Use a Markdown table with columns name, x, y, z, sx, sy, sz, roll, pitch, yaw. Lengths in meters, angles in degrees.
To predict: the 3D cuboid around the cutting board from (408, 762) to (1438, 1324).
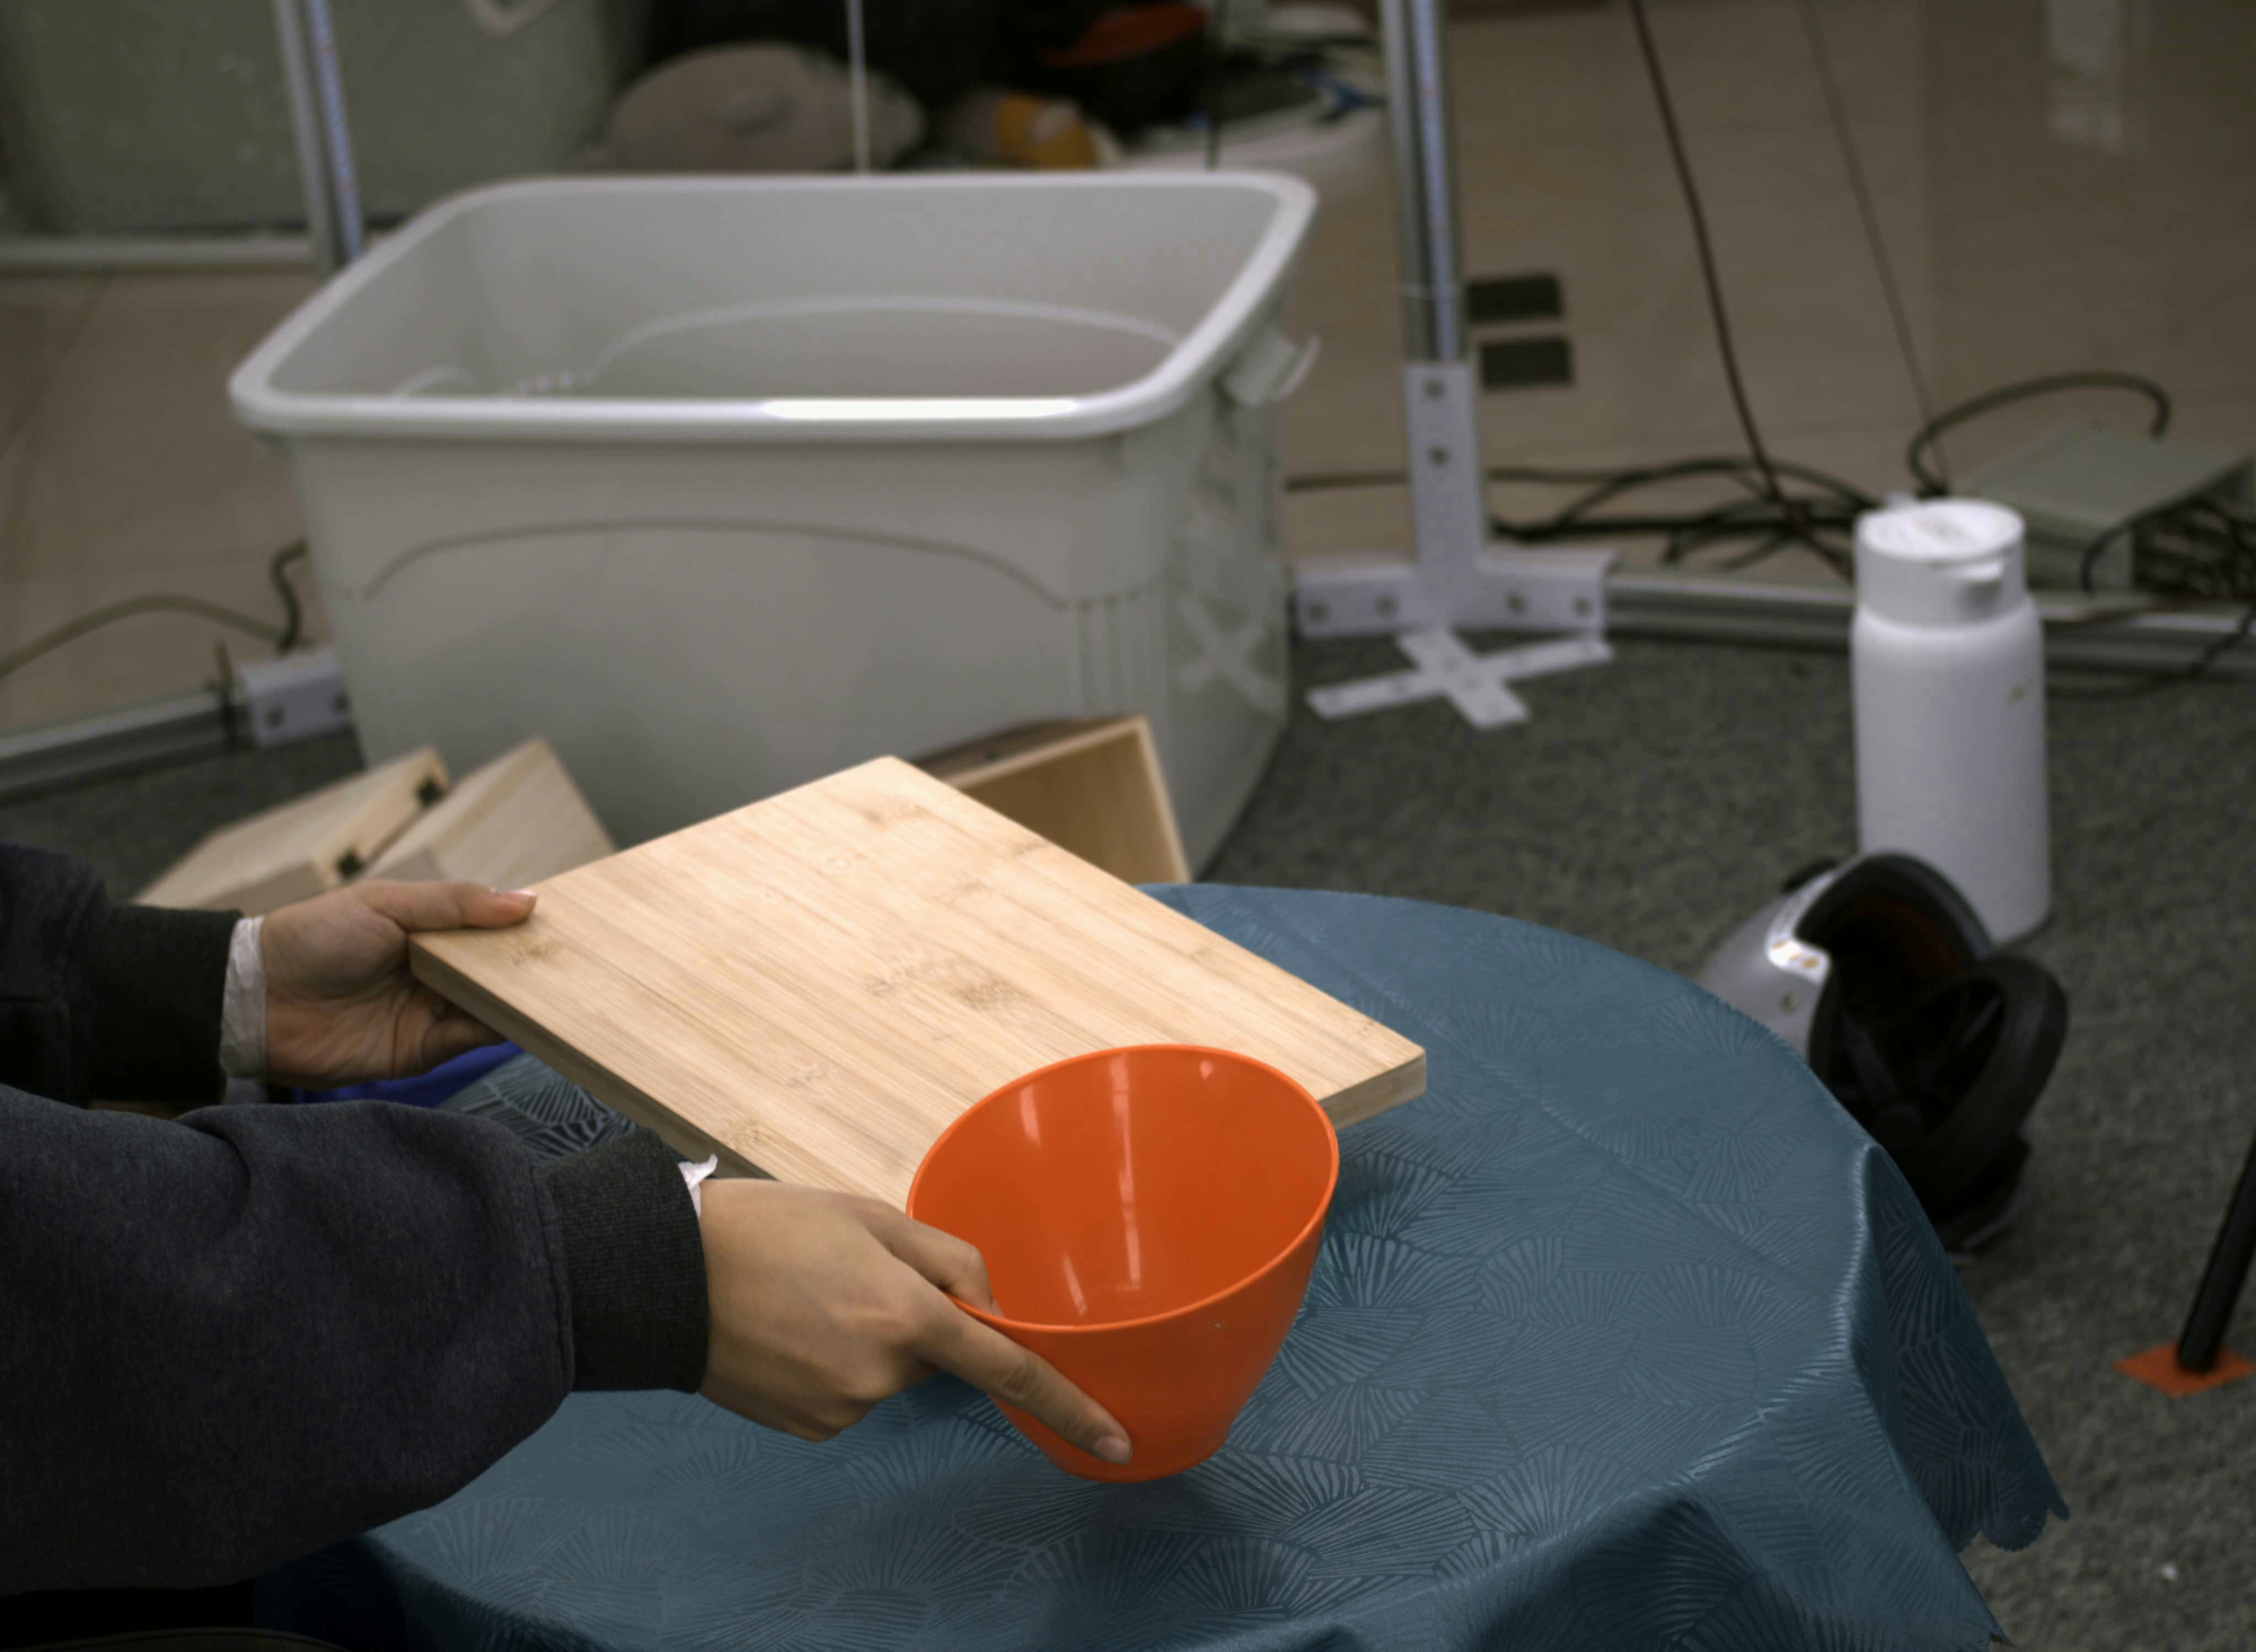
| name | x | y | z | sx | sy | sz | roll | pitch | yaw |
| --- | --- | --- | --- | --- | --- | --- | --- | --- | --- |
| cutting board | -0.083 | 0.074 | 2.169 | 0.249 | 0.024 | 0.345 | -22 | 34 | -33 |

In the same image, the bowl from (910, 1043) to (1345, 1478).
| name | x | y | z | sx | sy | sz | roll | pitch | yaw |
| --- | --- | --- | --- | --- | --- | --- | --- | --- | --- |
| bowl | 0.002 | 0.154 | 1.925 | 0.148 | 0.106 | 0.146 | -3 | 28 | 2 |
